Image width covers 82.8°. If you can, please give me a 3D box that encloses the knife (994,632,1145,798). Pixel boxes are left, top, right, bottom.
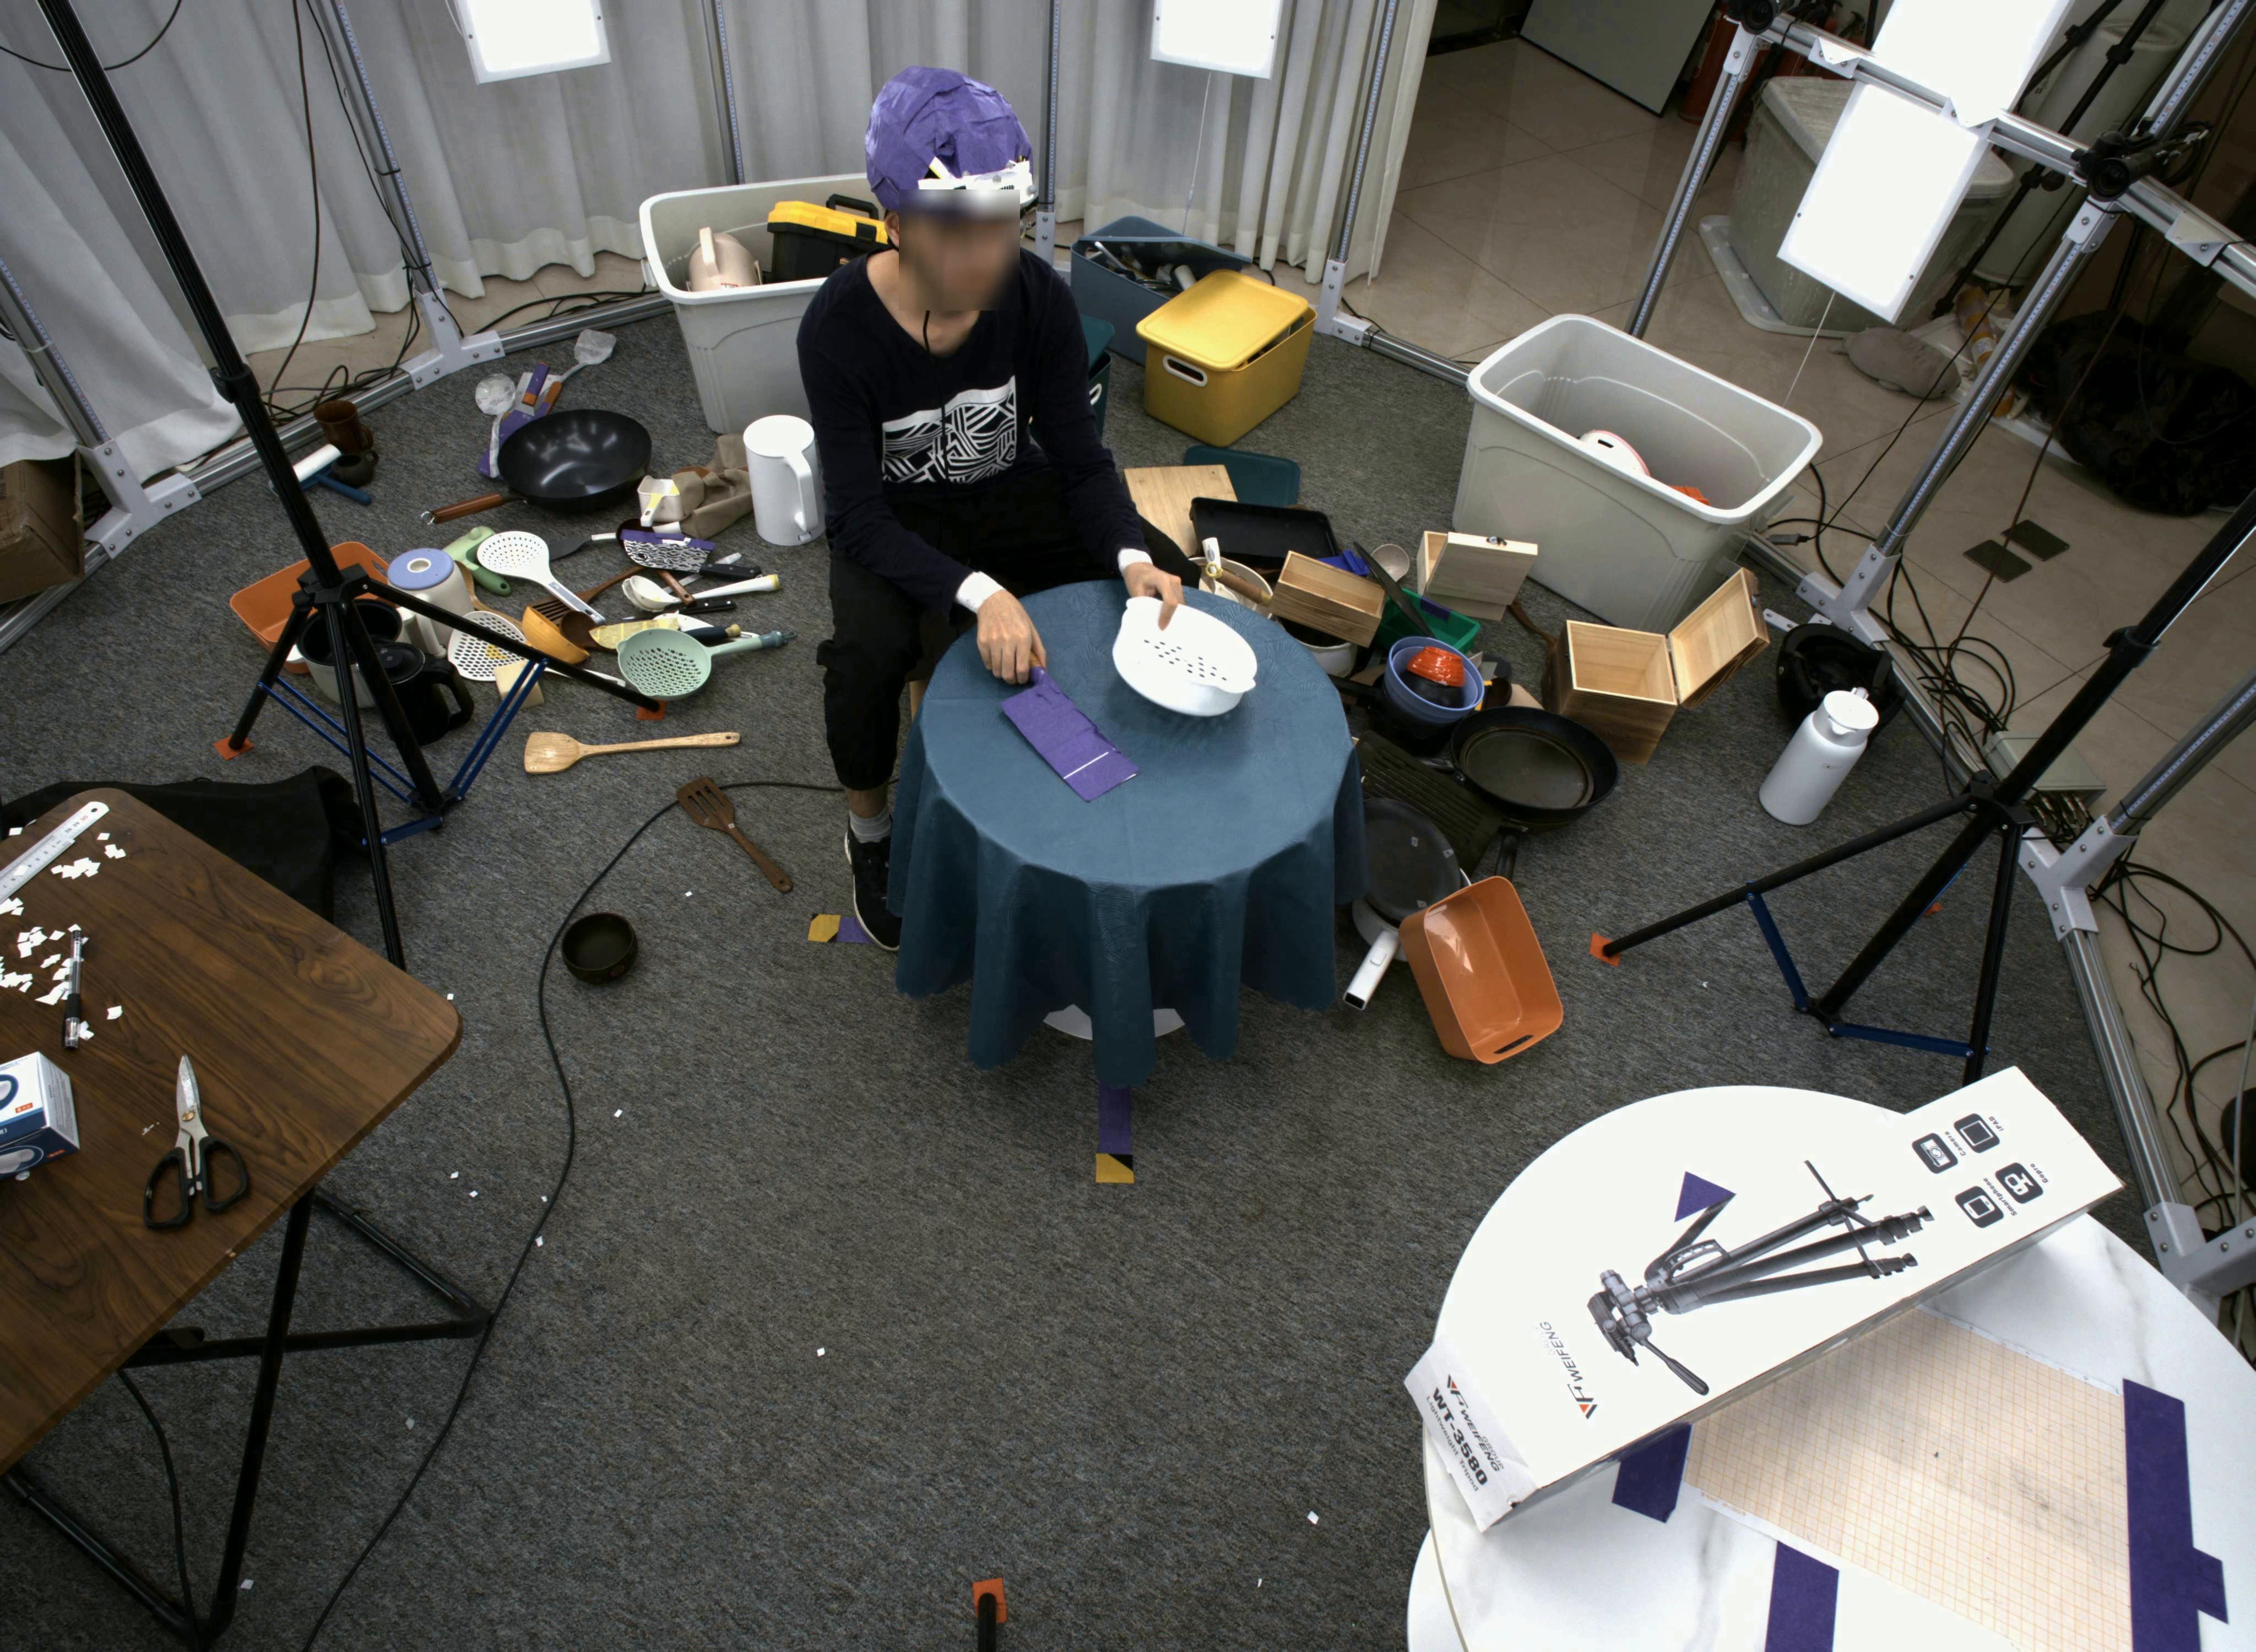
[{"bbox_3d":[-0.111,-0.158,1.778,0.104,0.031,0.321,-28,57,-26],"label":"knife"}]

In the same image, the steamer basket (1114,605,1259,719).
[{"bbox_3d":[0.079,-0.228,1.799,0.202,0.068,0.234,-17,48,-41],"label":"steamer basket"}]
